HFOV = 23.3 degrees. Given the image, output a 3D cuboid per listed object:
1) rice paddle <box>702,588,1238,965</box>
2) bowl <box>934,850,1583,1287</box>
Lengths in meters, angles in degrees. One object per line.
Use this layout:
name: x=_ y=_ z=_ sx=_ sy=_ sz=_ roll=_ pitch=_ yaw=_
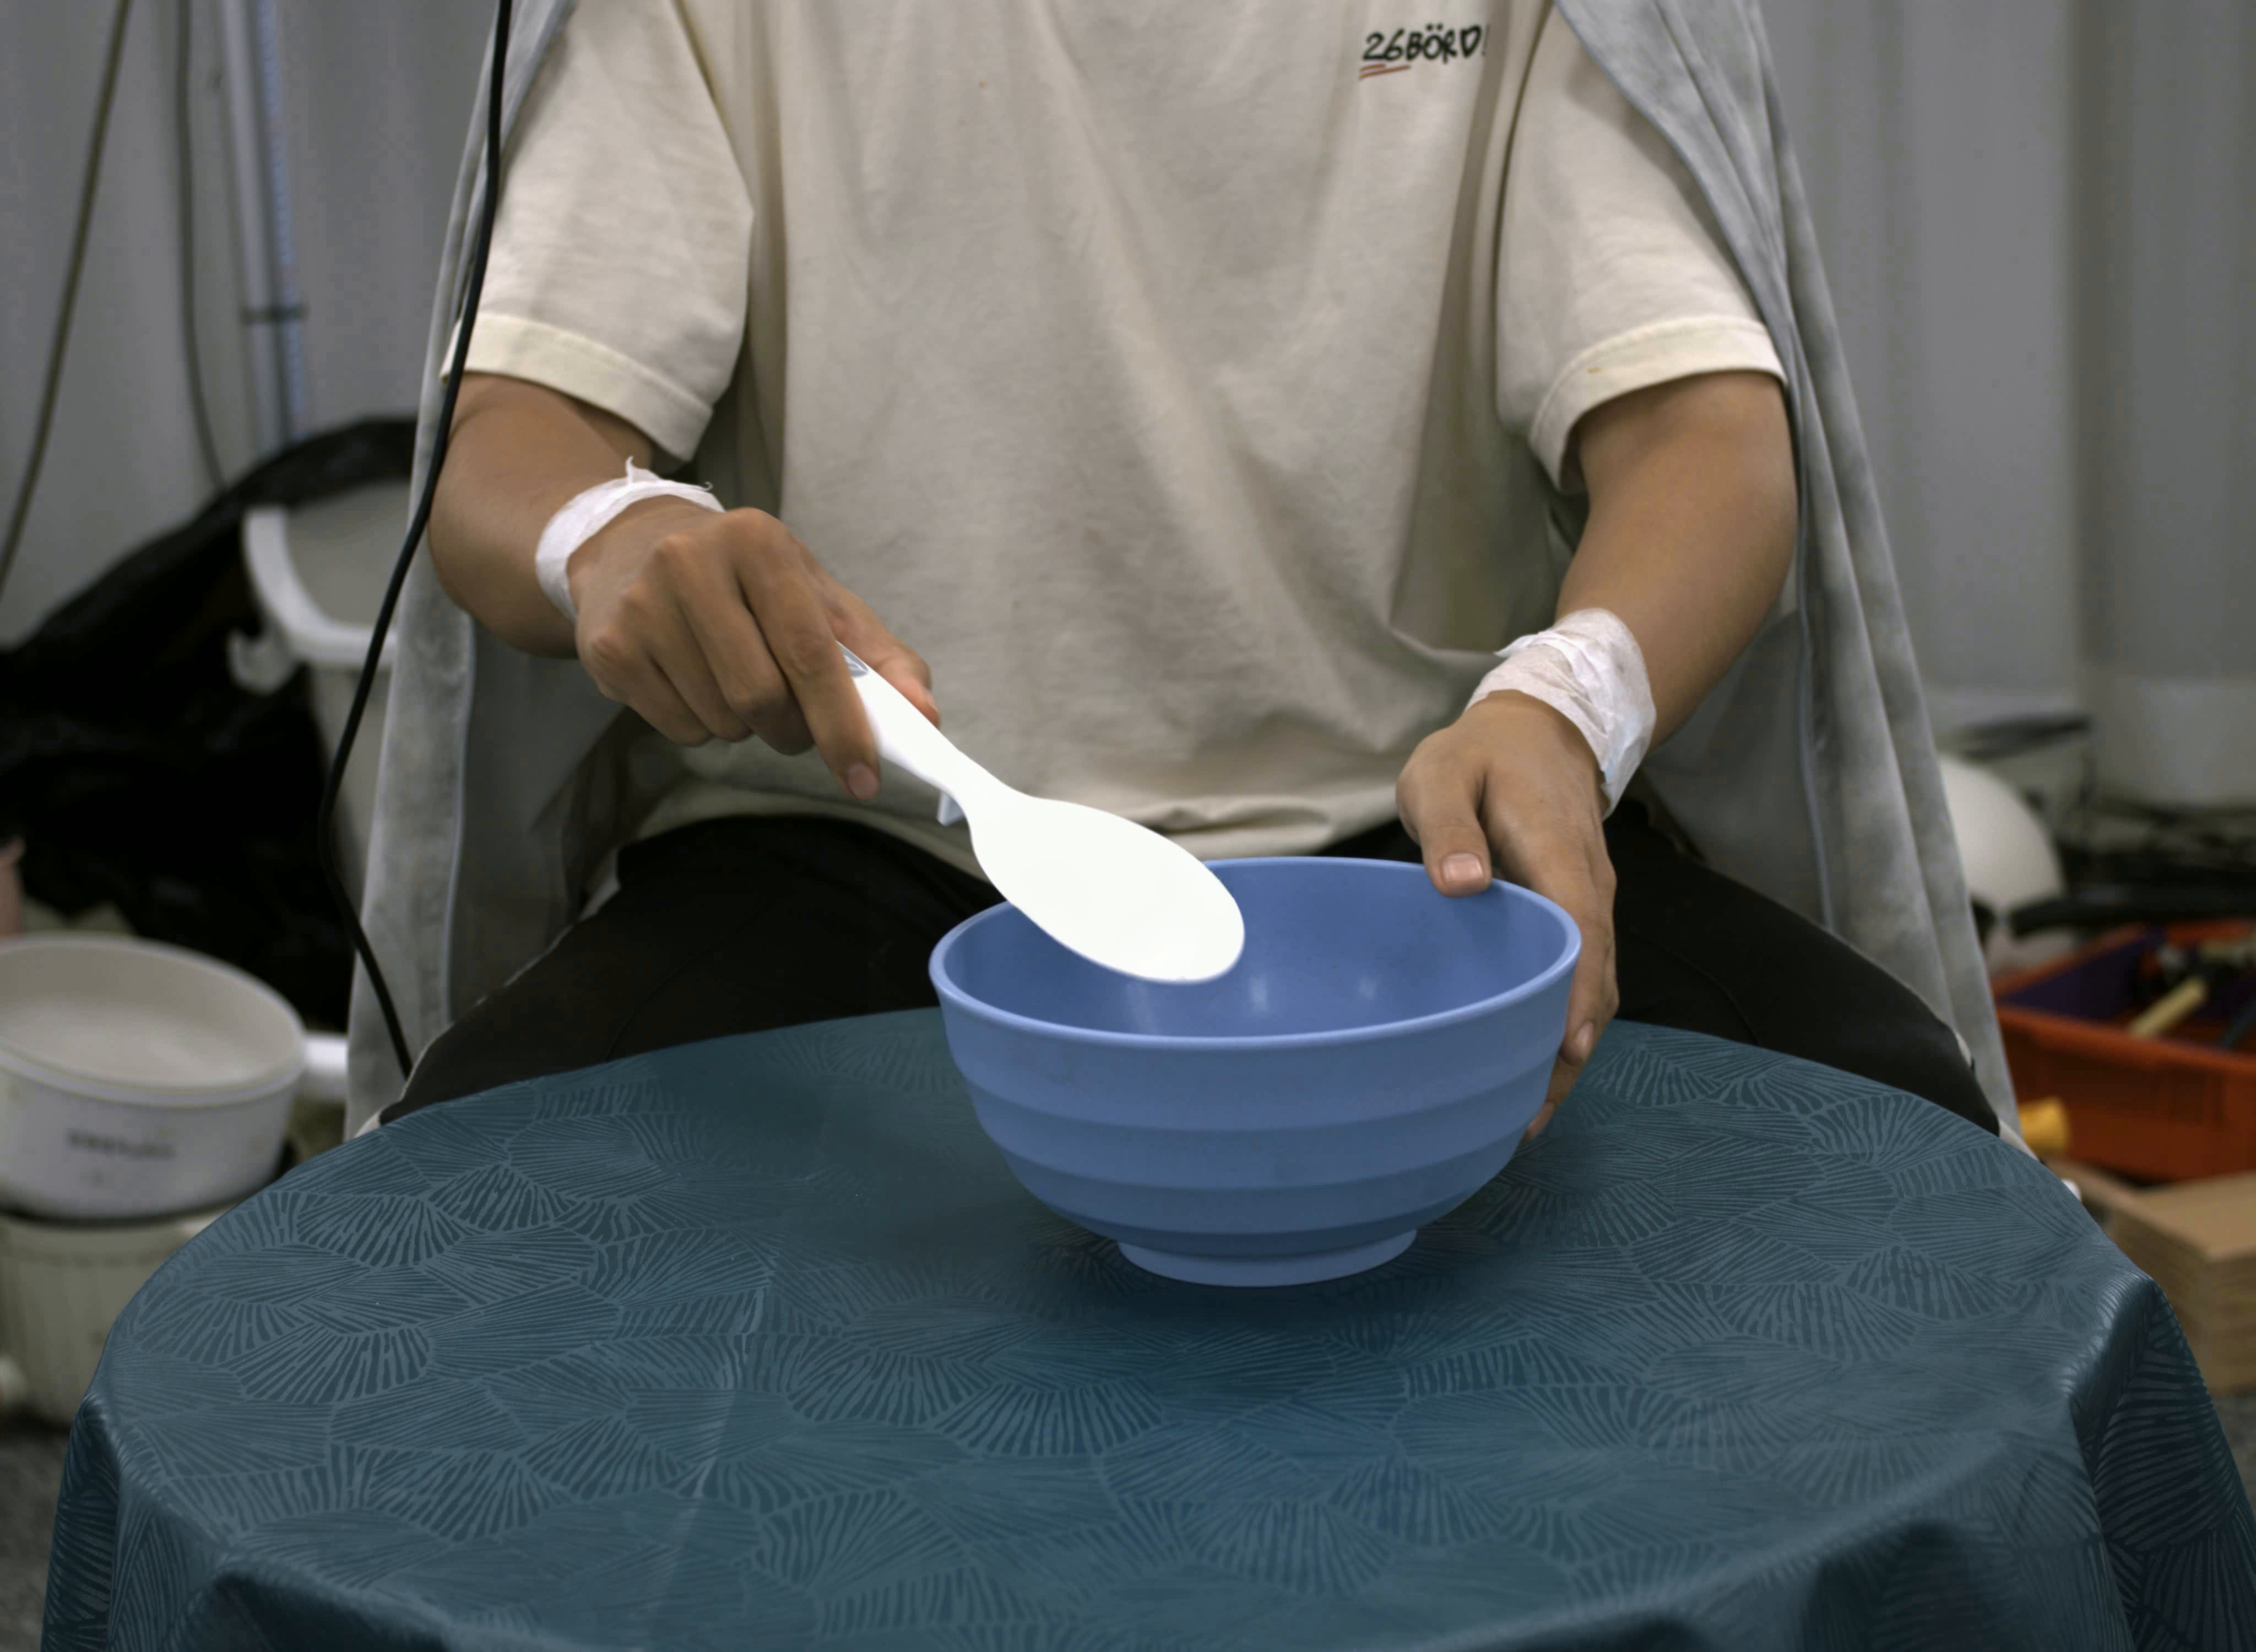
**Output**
rice paddle: x=-0.049 y=-0.014 z=1.695 sx=0.207 sy=0.029 sz=0.069 roll=33 pitch=40 yaw=28
bowl: x=0.042 y=0.079 z=1.658 sx=0.196 sy=0.095 sz=0.198 roll=-4 pitch=16 yaw=1
